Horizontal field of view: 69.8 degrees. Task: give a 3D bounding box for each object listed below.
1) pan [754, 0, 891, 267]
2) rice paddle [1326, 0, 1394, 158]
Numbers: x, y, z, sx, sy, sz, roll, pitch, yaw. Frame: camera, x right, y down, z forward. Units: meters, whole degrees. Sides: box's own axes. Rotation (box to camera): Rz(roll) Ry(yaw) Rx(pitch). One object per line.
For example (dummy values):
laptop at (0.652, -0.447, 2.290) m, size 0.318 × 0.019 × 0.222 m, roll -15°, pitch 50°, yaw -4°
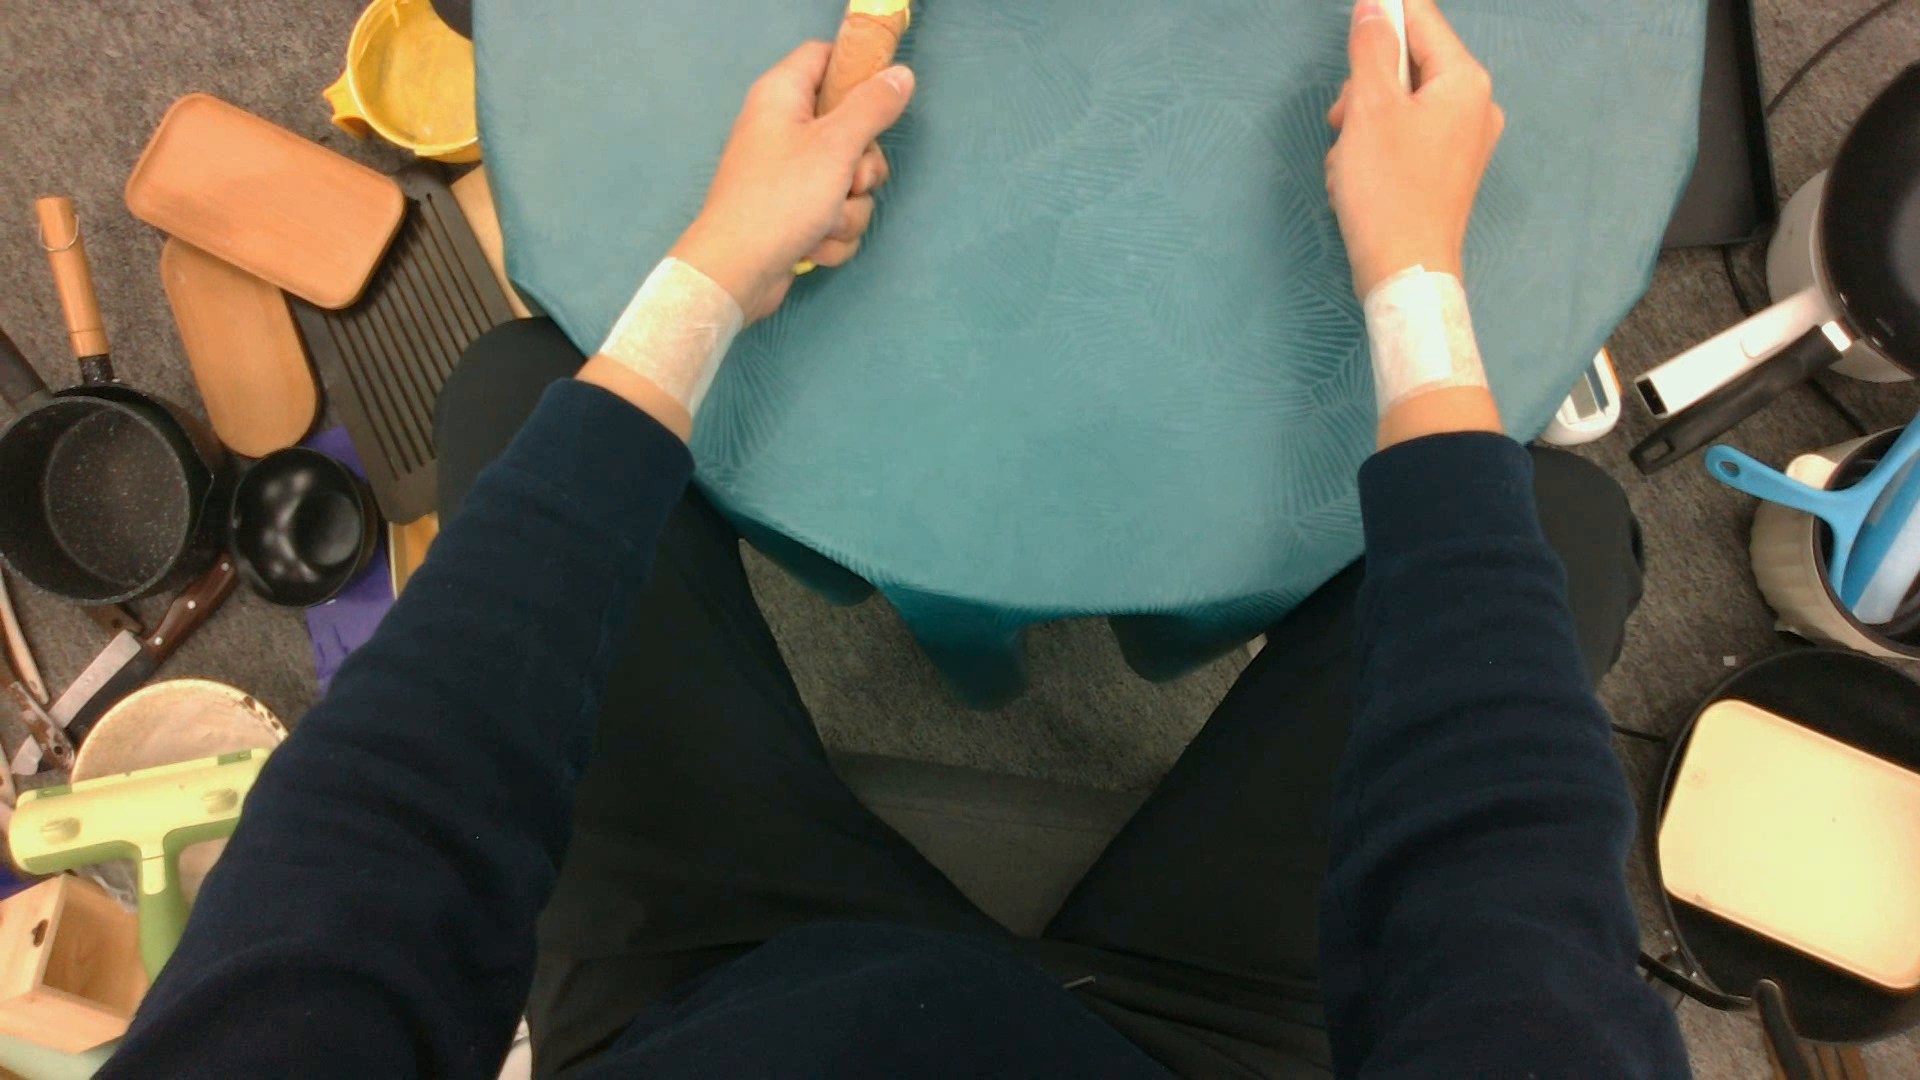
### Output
pan at (-0.038, -0.281, 0.646) m, size 0.169 × 0.049 × 0.324 m, roll 19°, pitch 88°, yaw -3°
rice paddle at (0.180, -0.280, 0.632) m, size 0.029 × 0.069 × 0.205 m, roll -2°, pitch 85°, yaw 11°
